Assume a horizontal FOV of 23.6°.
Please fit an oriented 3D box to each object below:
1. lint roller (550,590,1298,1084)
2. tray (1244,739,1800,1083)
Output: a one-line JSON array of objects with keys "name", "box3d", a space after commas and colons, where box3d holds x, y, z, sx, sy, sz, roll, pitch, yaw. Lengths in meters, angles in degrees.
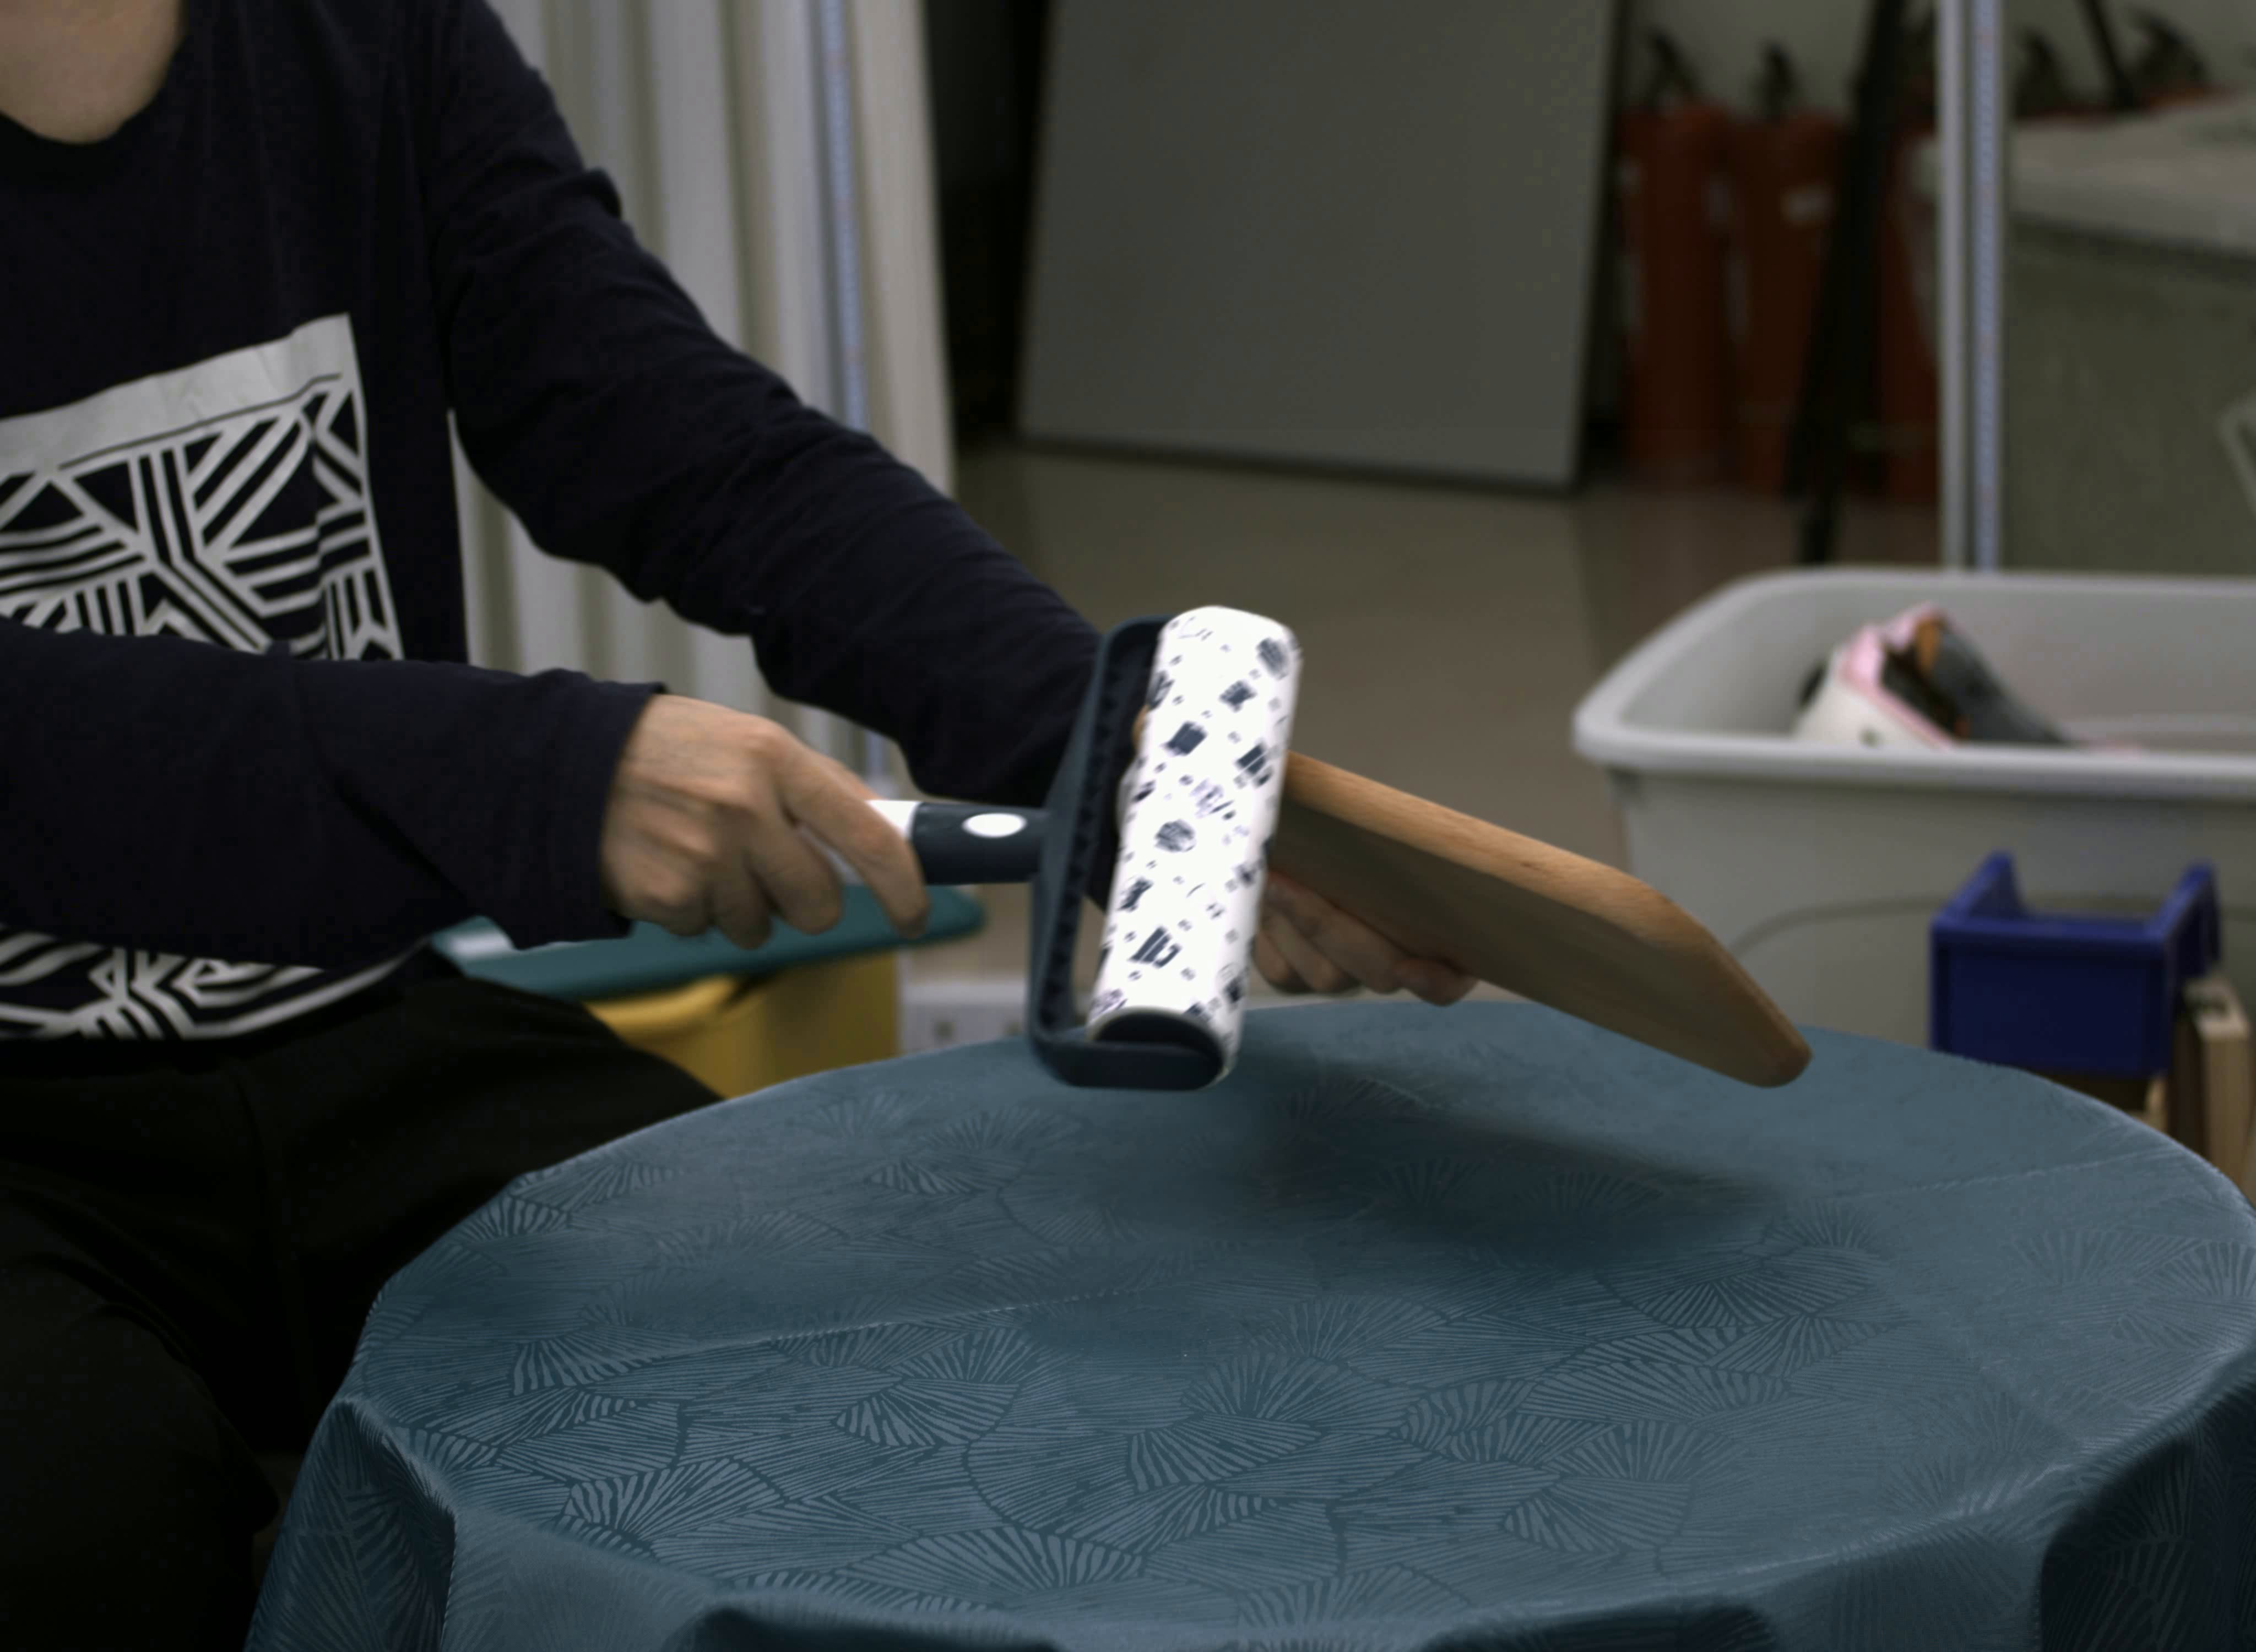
[{"name": "lint roller", "box3d": [-0.073, 0.006, 1.735, 0.246, 0.050, 0.177, -2, 53, 17]}, {"name": "tray", "box3d": [0.105, 0.021, 1.762, 0.253, 0.129, 0.023, 19, 68, 45]}]
